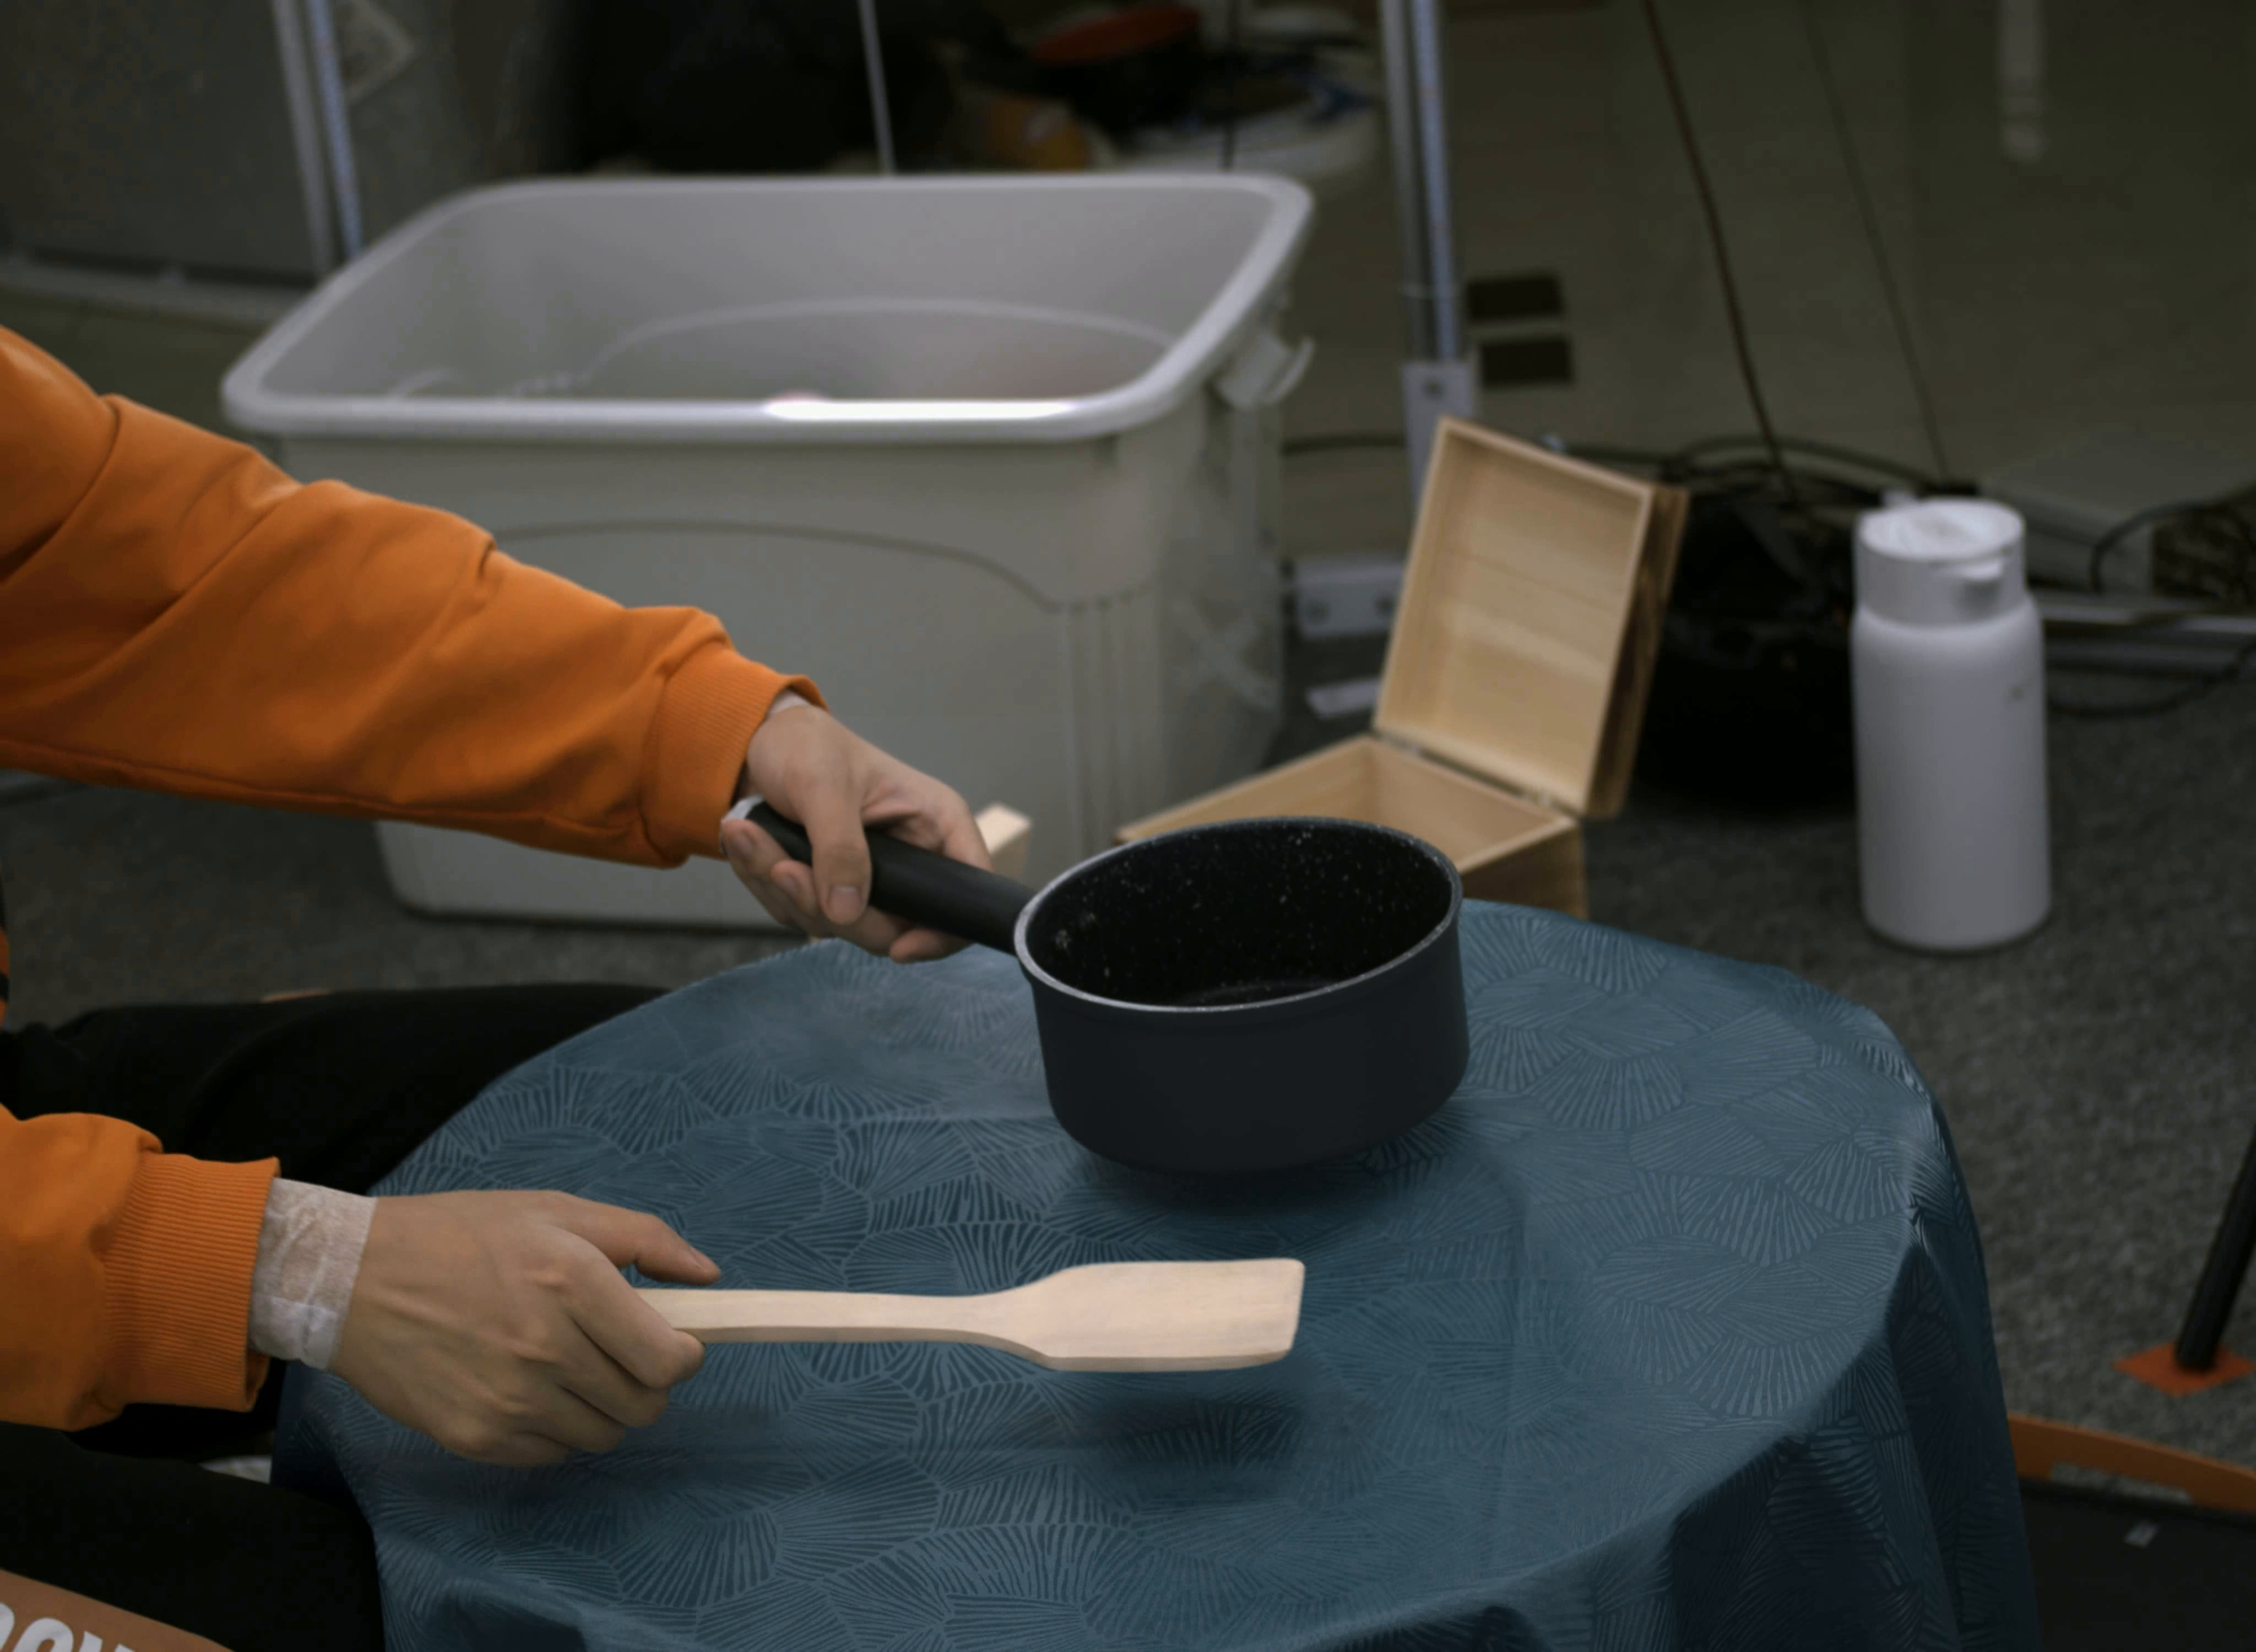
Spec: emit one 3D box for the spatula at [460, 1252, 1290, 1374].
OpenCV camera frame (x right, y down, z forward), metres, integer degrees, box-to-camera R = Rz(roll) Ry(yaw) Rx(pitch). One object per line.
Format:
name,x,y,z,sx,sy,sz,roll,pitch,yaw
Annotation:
spatula,-0.090,0.170,1.980,0.292,0.011,0.071,-1,28,8

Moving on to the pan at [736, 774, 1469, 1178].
pan,-0.018,0.049,2.203,0.327,0.088,0.170,12,31,35
